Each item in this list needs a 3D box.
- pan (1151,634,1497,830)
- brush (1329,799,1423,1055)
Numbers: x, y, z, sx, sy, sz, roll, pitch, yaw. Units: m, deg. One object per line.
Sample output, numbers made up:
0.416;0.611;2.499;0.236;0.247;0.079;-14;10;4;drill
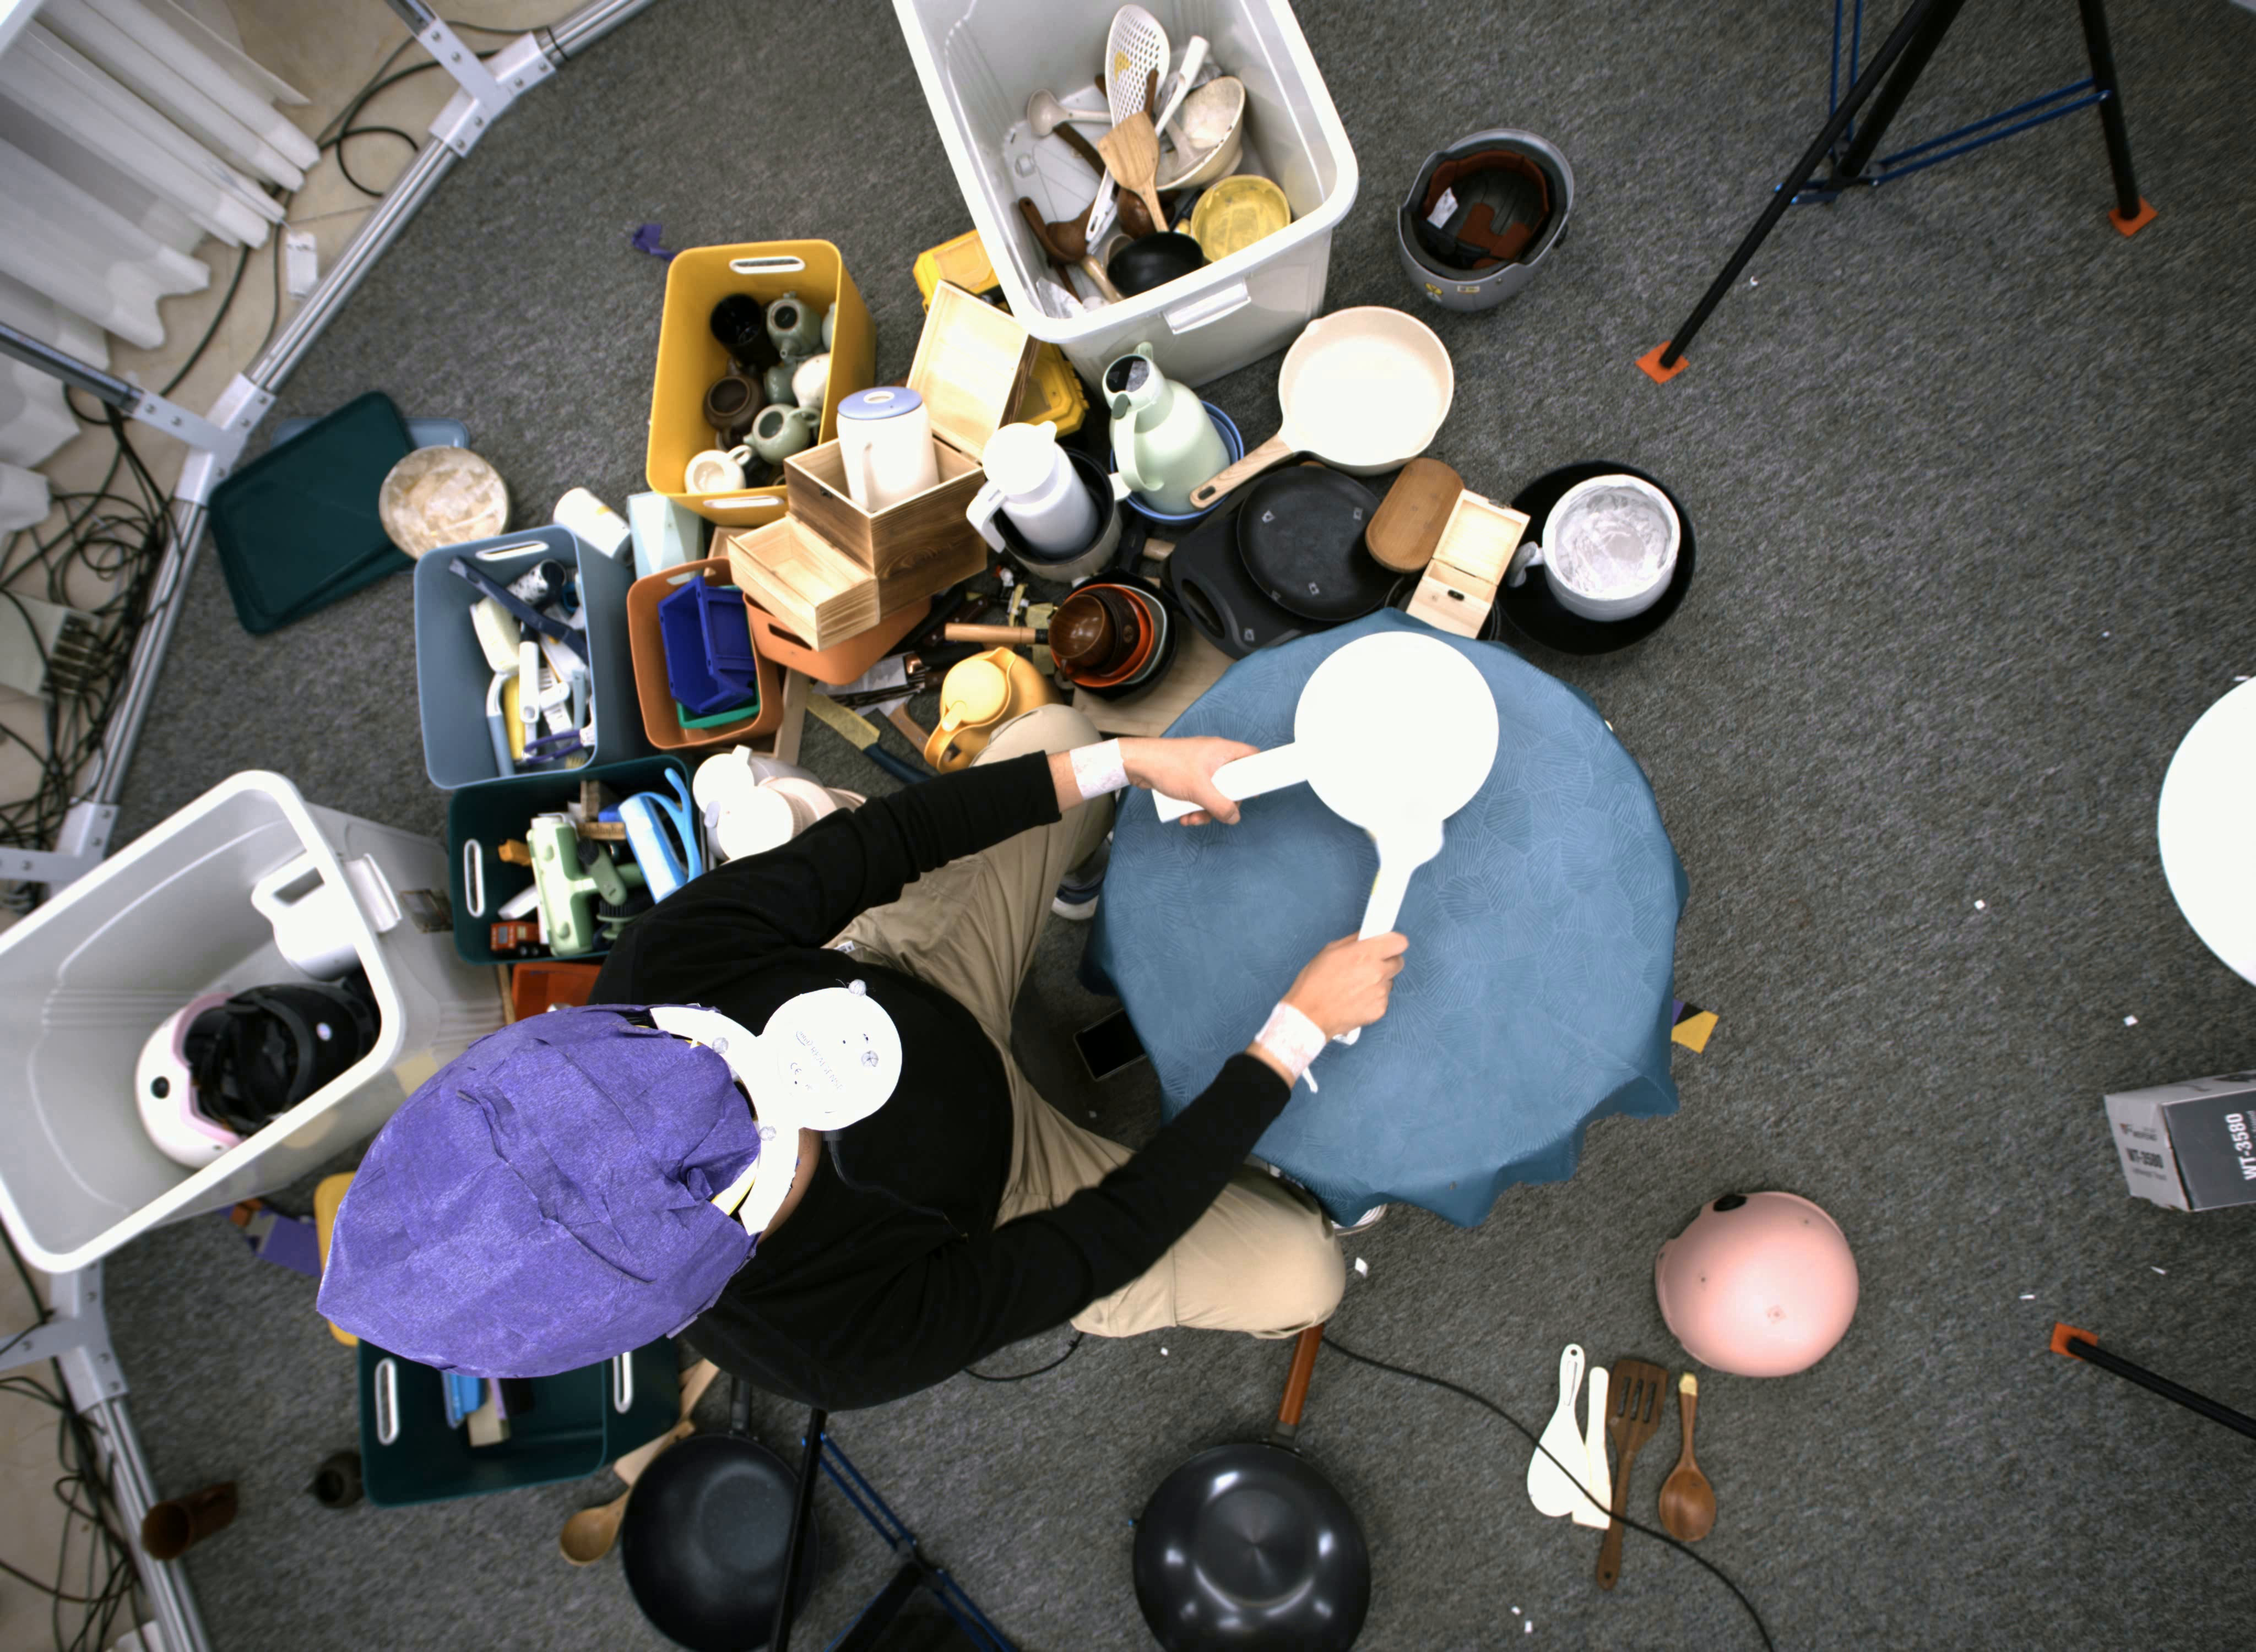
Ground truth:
0.203;-0.069;1.435;0.357;0.102;0.200;-18;86;10;pan
0.237;0.098;1.379;0.068;0.055;0.271;9;111;-5;brush
